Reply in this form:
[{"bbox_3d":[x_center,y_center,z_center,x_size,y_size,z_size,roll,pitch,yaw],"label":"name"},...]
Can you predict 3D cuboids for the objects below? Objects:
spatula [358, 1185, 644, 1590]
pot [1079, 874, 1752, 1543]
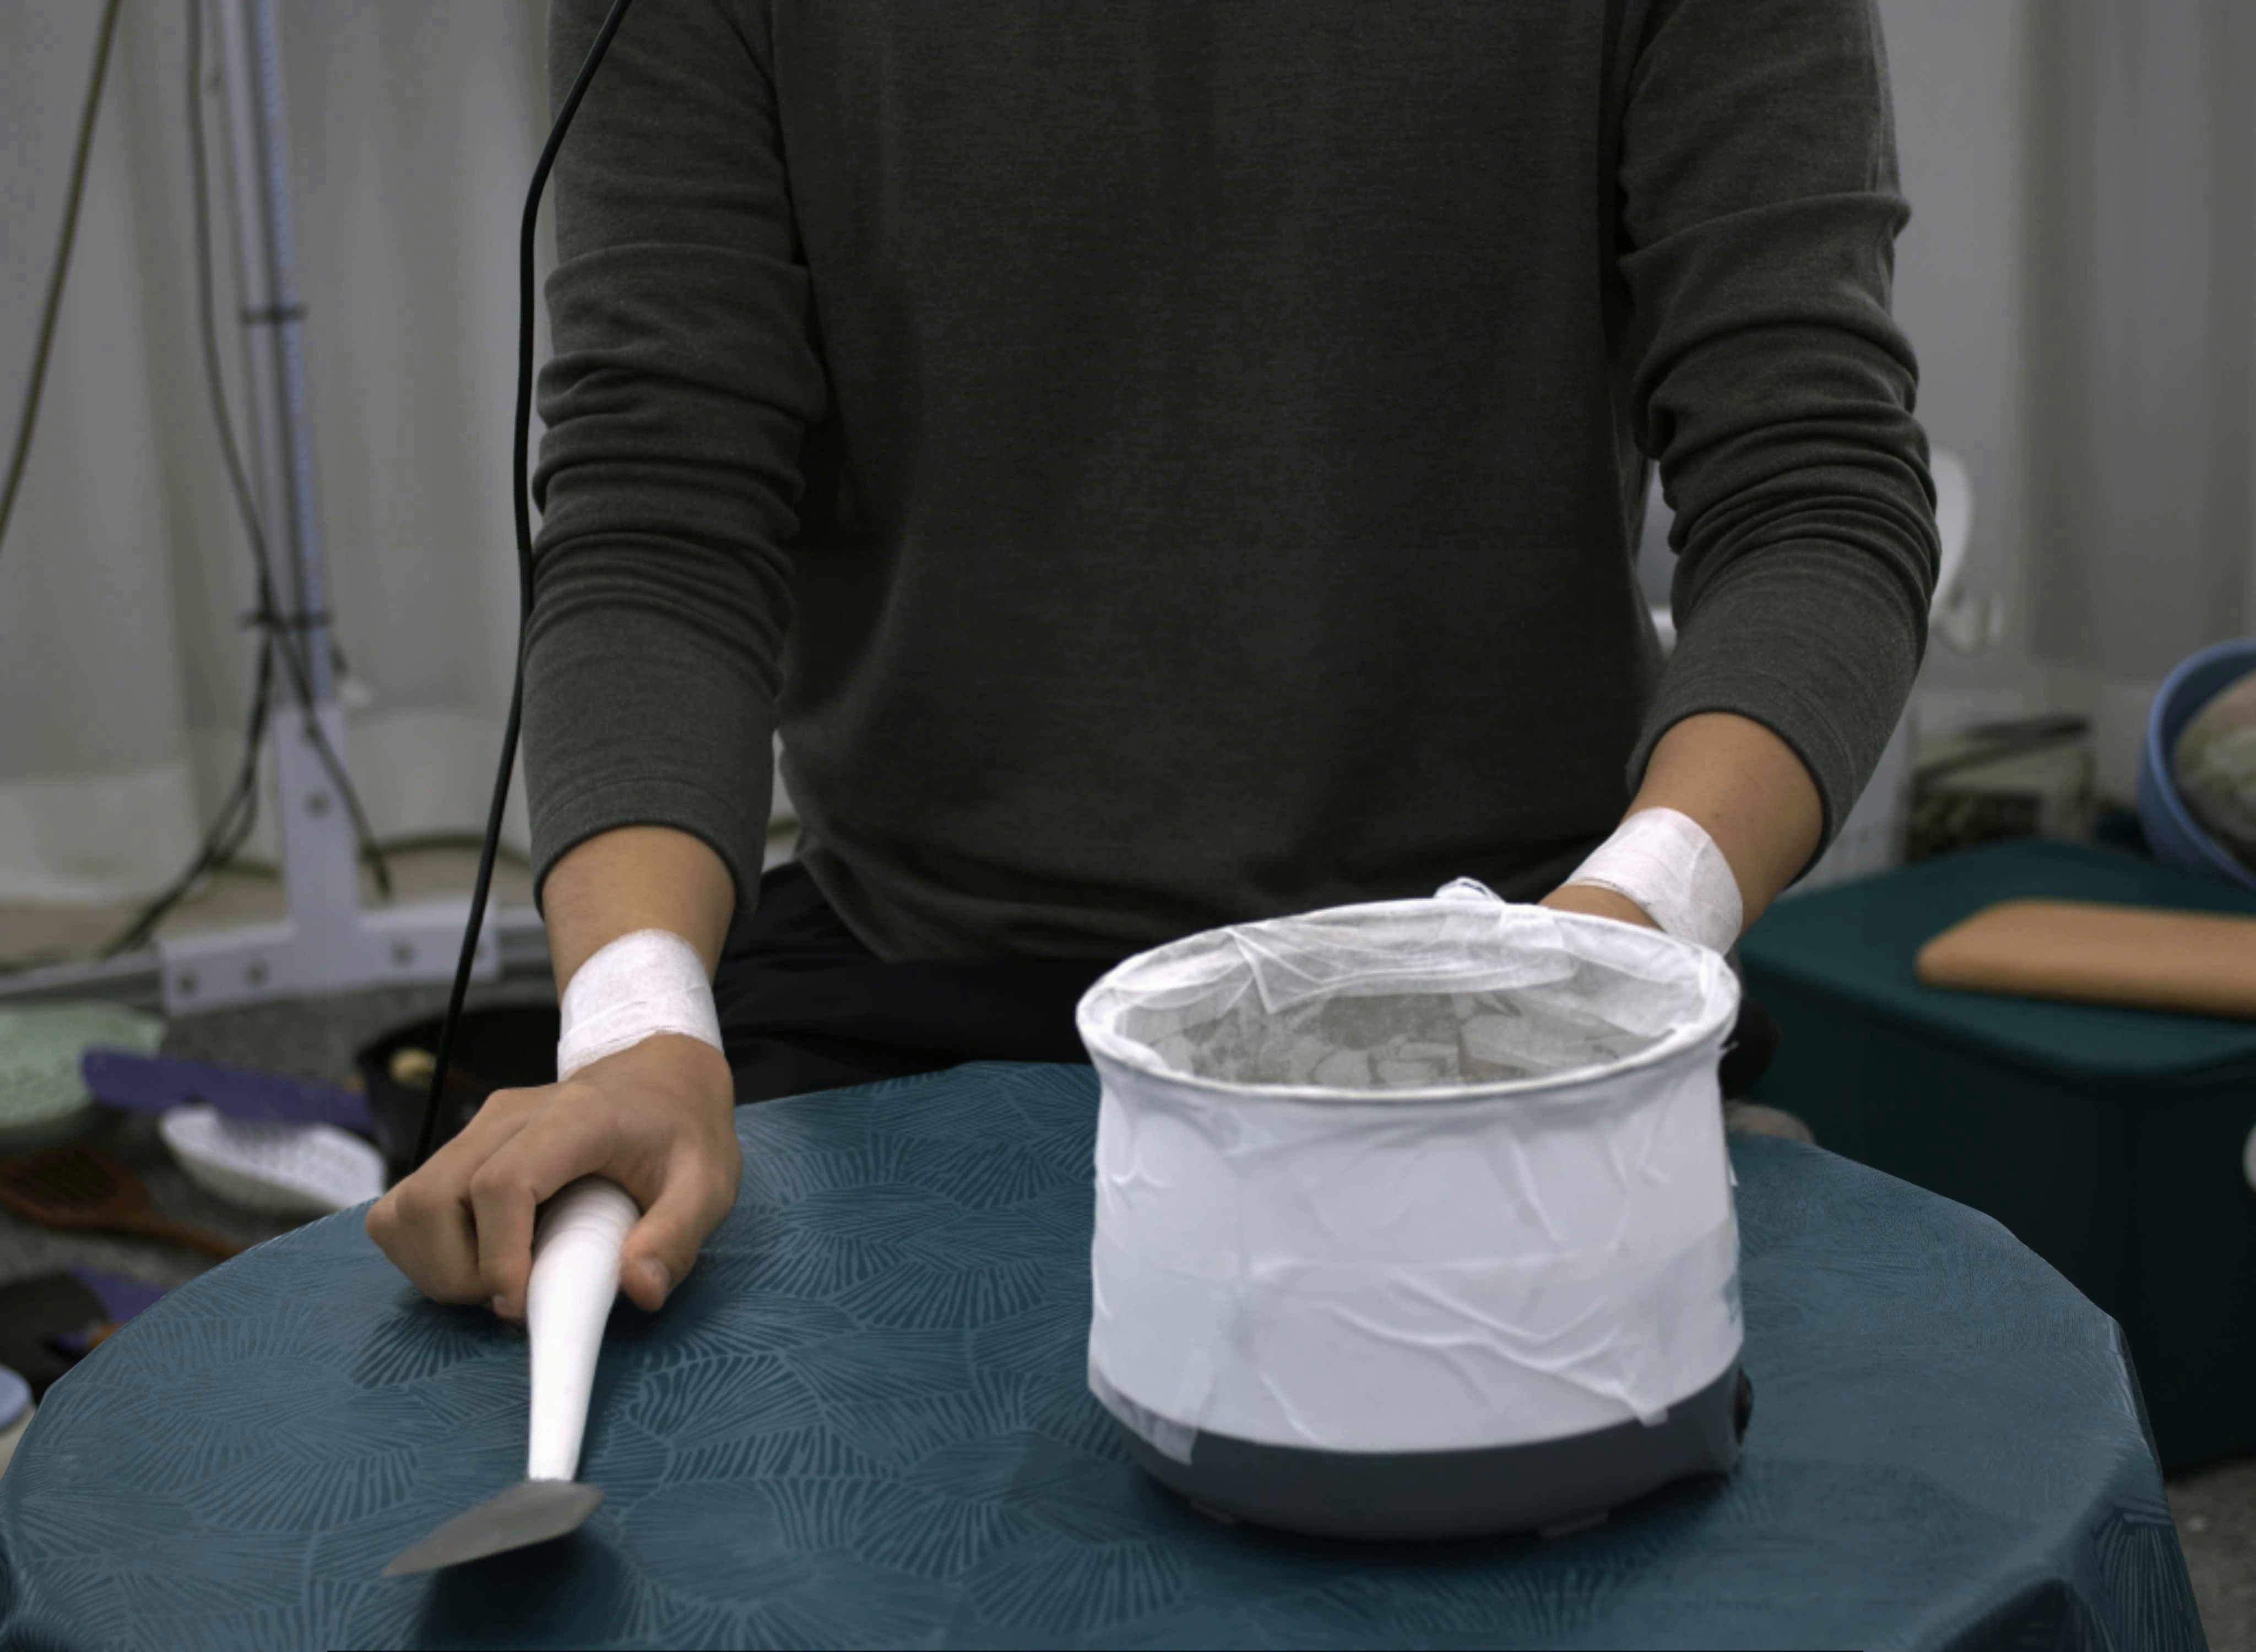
[{"bbox_3d":[-0.164,0.159,1.519,0.058,0.032,0.289,-13,14,4],"label":"spatula"},{"bbox_3d":[0.083,0.098,1.496,0.178,0.136,0.235,1,15,12],"label":"pot"}]
